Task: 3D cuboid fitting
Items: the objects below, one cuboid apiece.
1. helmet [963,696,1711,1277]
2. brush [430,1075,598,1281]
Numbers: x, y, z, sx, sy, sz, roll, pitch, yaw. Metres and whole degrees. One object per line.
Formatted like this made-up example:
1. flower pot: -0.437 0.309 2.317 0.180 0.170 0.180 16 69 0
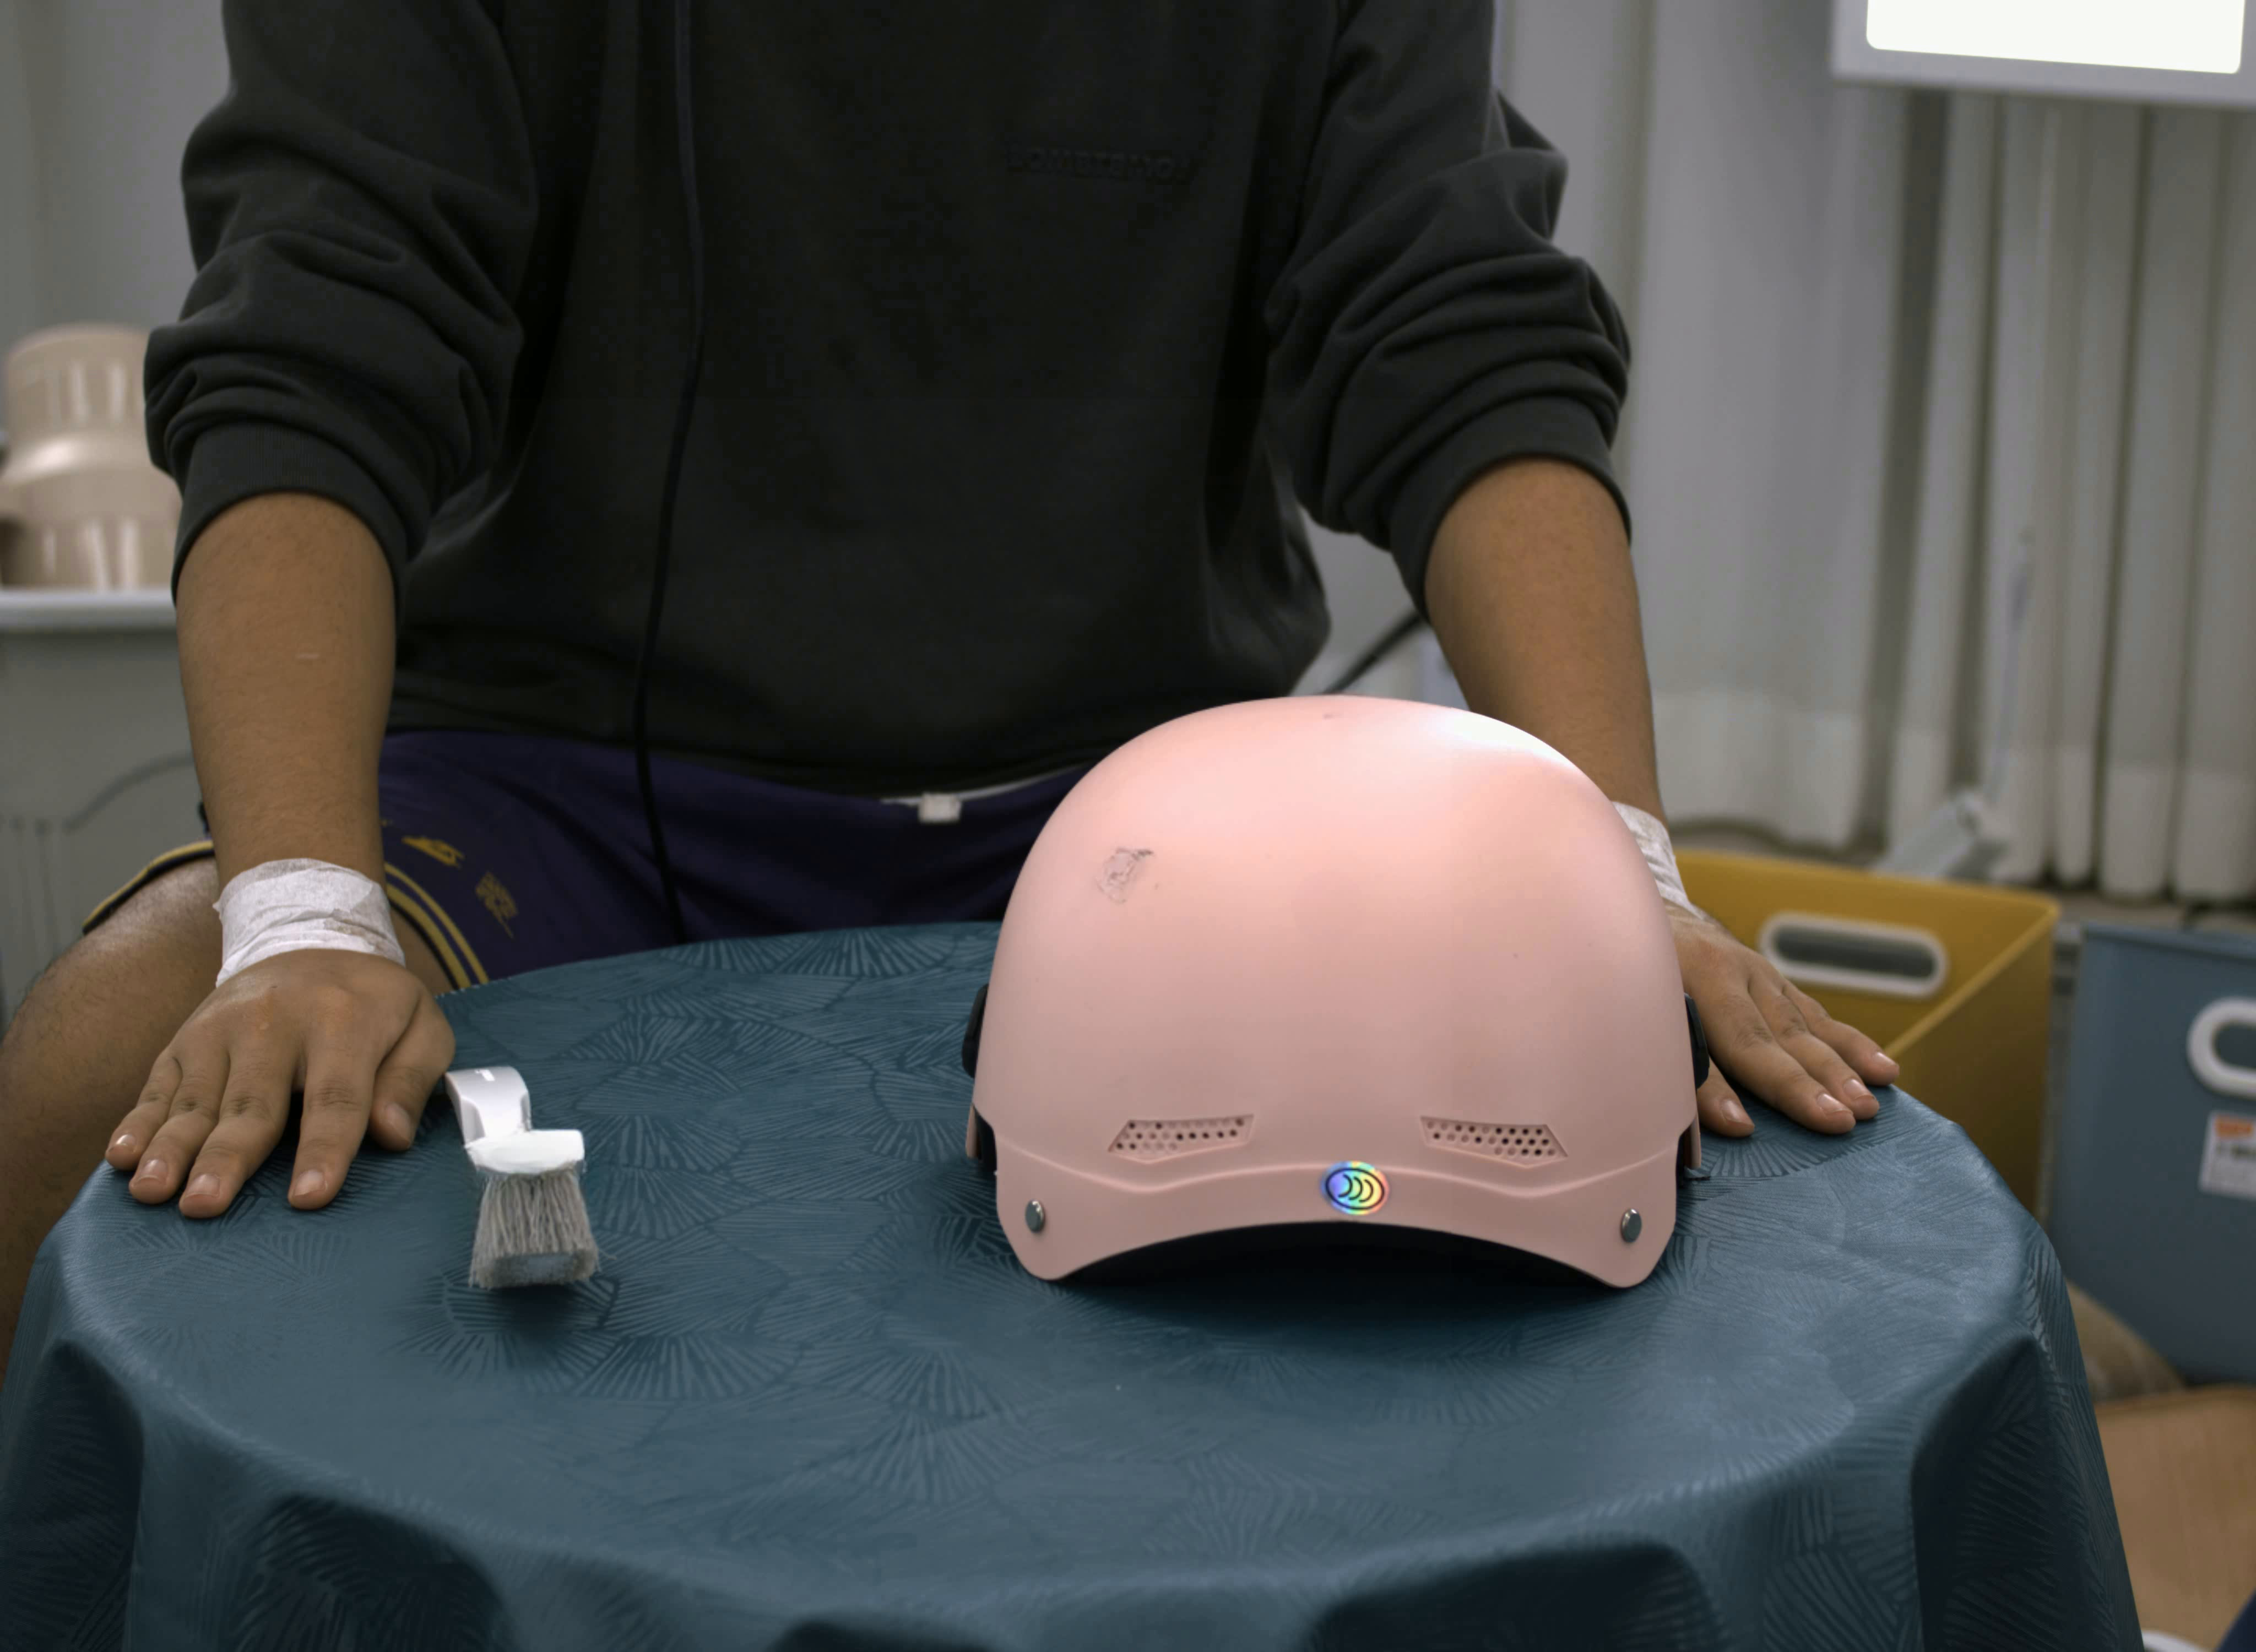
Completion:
1. helmet: 0.064 0.038 1.613 0.233 0.160 0.265 0 11 1
2. brush: -0.190 0.106 1.597 0.034 0.050 0.242 -7 3 -12
